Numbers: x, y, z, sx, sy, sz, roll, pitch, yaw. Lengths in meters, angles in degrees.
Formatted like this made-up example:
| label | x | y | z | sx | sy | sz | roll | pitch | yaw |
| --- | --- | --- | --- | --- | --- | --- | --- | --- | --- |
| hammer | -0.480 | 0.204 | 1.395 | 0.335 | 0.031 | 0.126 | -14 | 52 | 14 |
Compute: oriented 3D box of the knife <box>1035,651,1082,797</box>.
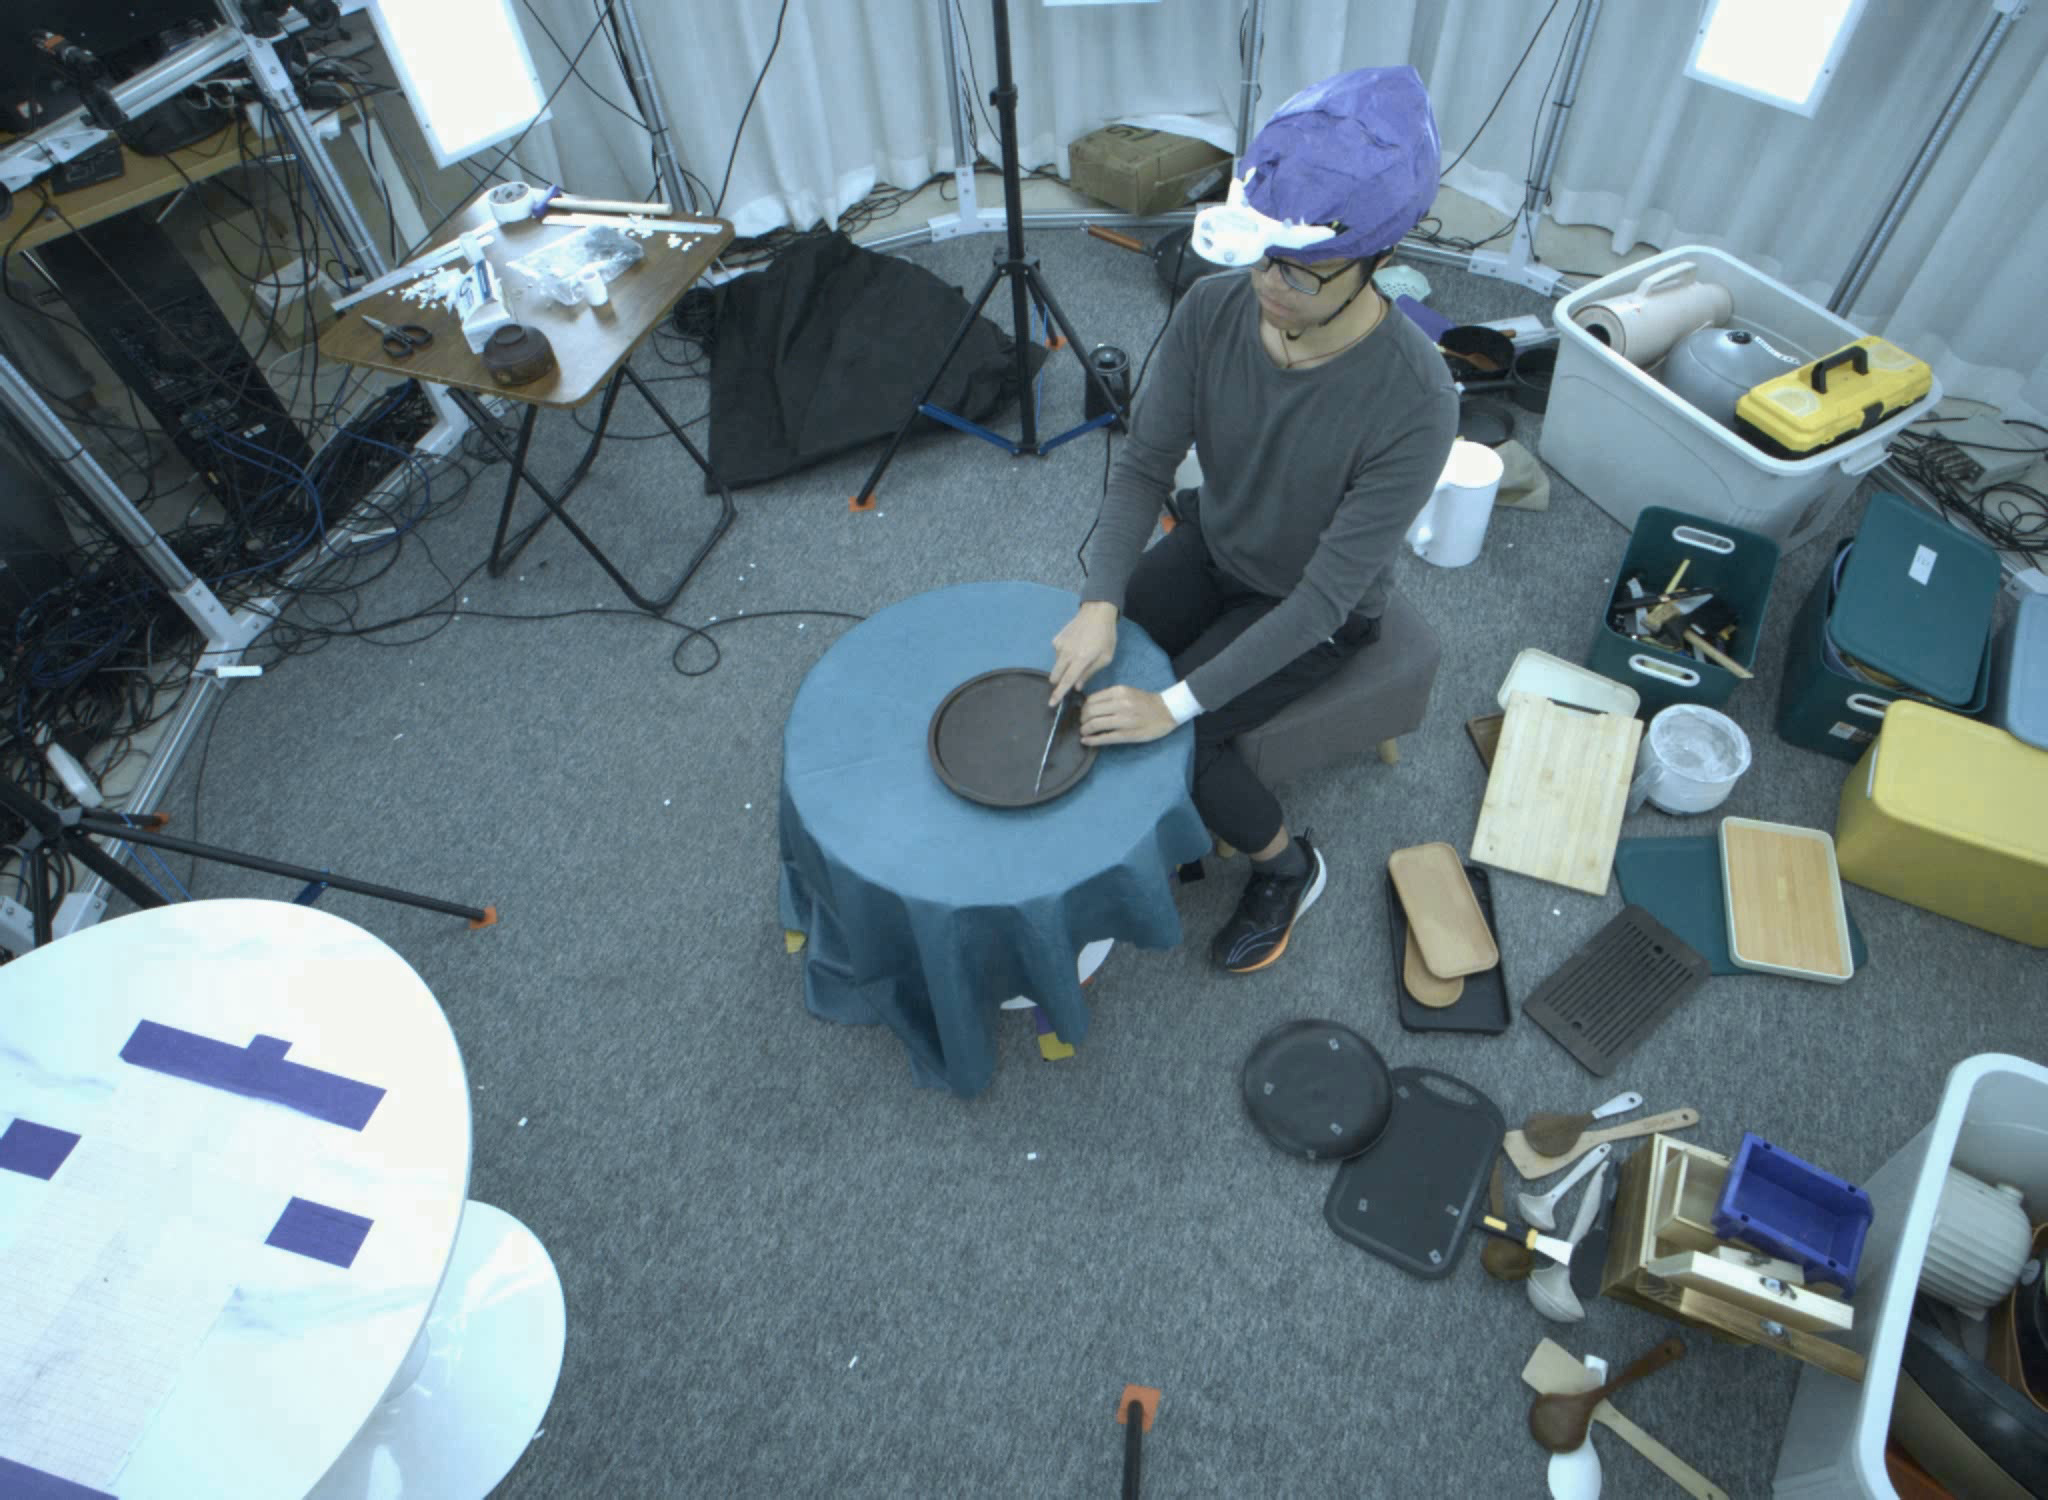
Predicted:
| label | x | y | z | sx | sy | sz | roll | pitch | yaw |
| --- | --- | --- | --- | --- | --- | --- | --- | --- | --- |
| knife | 0.048 | -0.041 | 1.775 | 0.016 | 0.024 | 0.237 | 14 | 68 | 7 |

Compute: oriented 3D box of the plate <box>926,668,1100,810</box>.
| label | x | y | z | sx | sy | sz | roll | pitch | yaw |
| --- | --- | --- | --- | --- | --- | --- | --- | --- | --- |
| plate | -0.016 | -0.018 | 1.794 | 0.254 | 0.029 | 0.252 | 0 | 56 | 2 |
